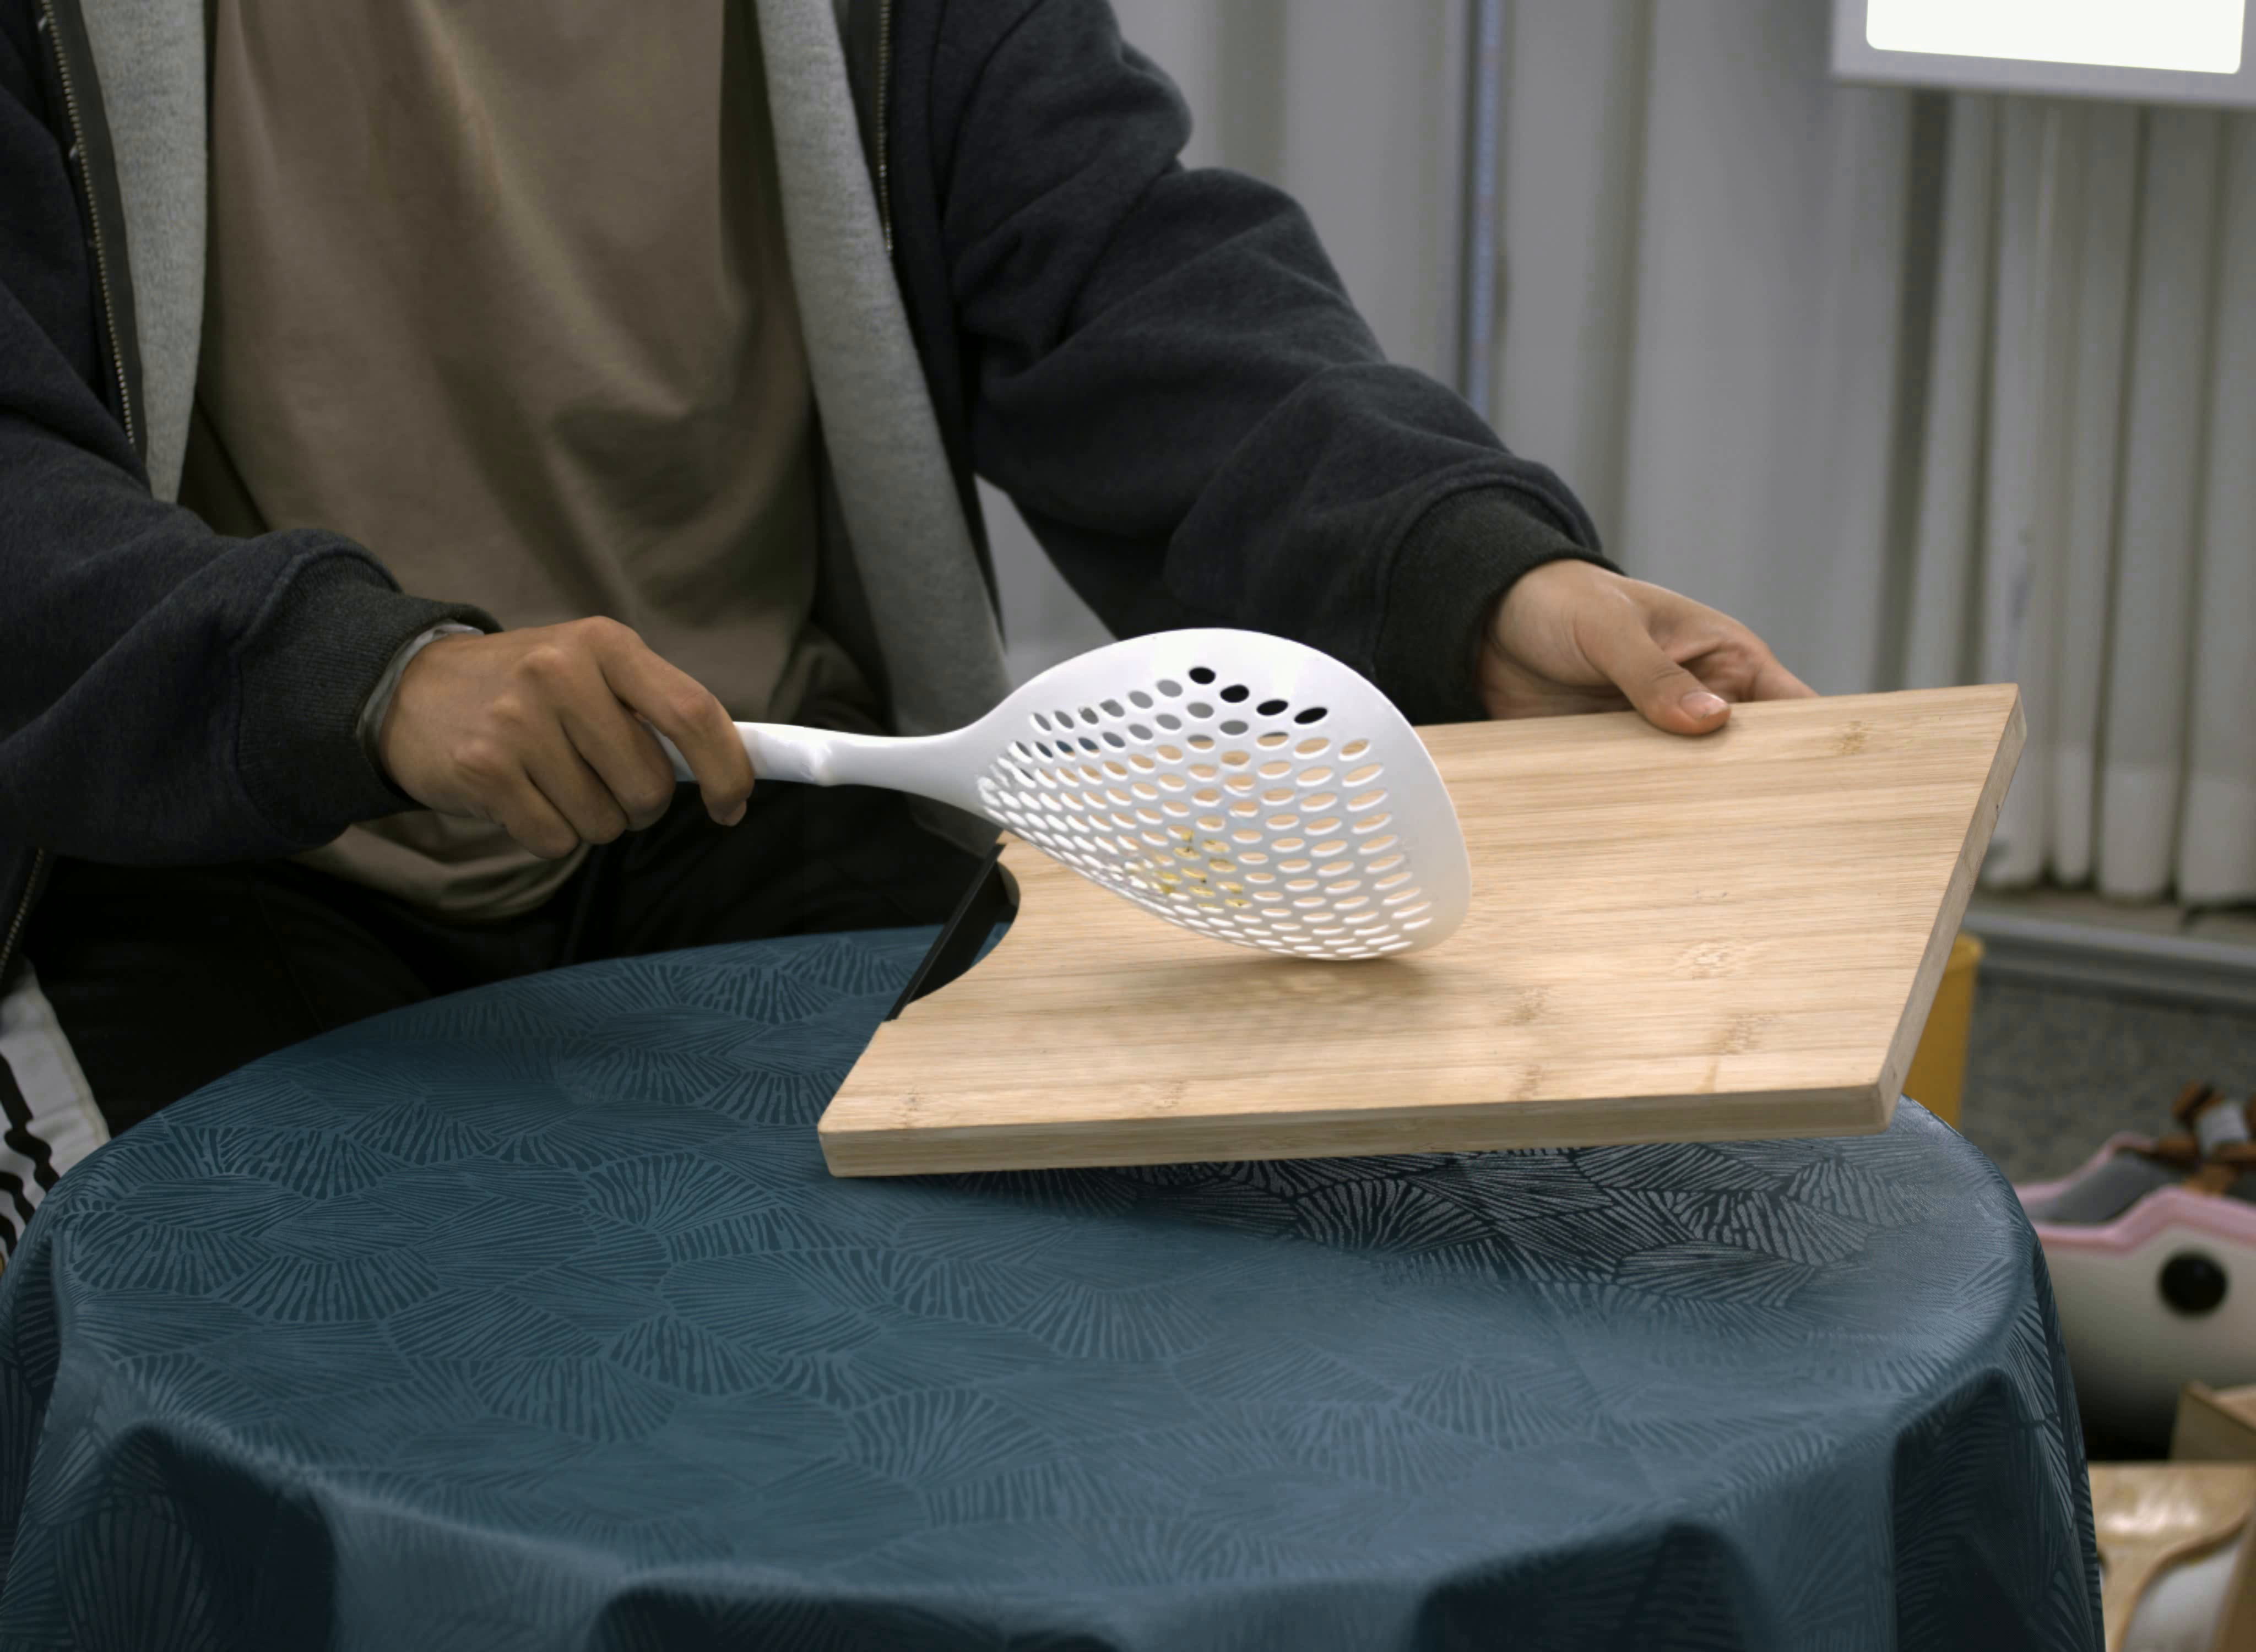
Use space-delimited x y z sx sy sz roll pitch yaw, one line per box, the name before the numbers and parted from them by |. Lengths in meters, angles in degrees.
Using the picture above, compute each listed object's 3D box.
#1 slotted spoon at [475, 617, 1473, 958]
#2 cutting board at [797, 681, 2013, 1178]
slotted spoon | -0.055 -0.014 1.648 0.343 0.139 0.050 10 49 32
cutting board | 0.092 0.032 1.666 0.345 0.024 0.250 -4 28 21
